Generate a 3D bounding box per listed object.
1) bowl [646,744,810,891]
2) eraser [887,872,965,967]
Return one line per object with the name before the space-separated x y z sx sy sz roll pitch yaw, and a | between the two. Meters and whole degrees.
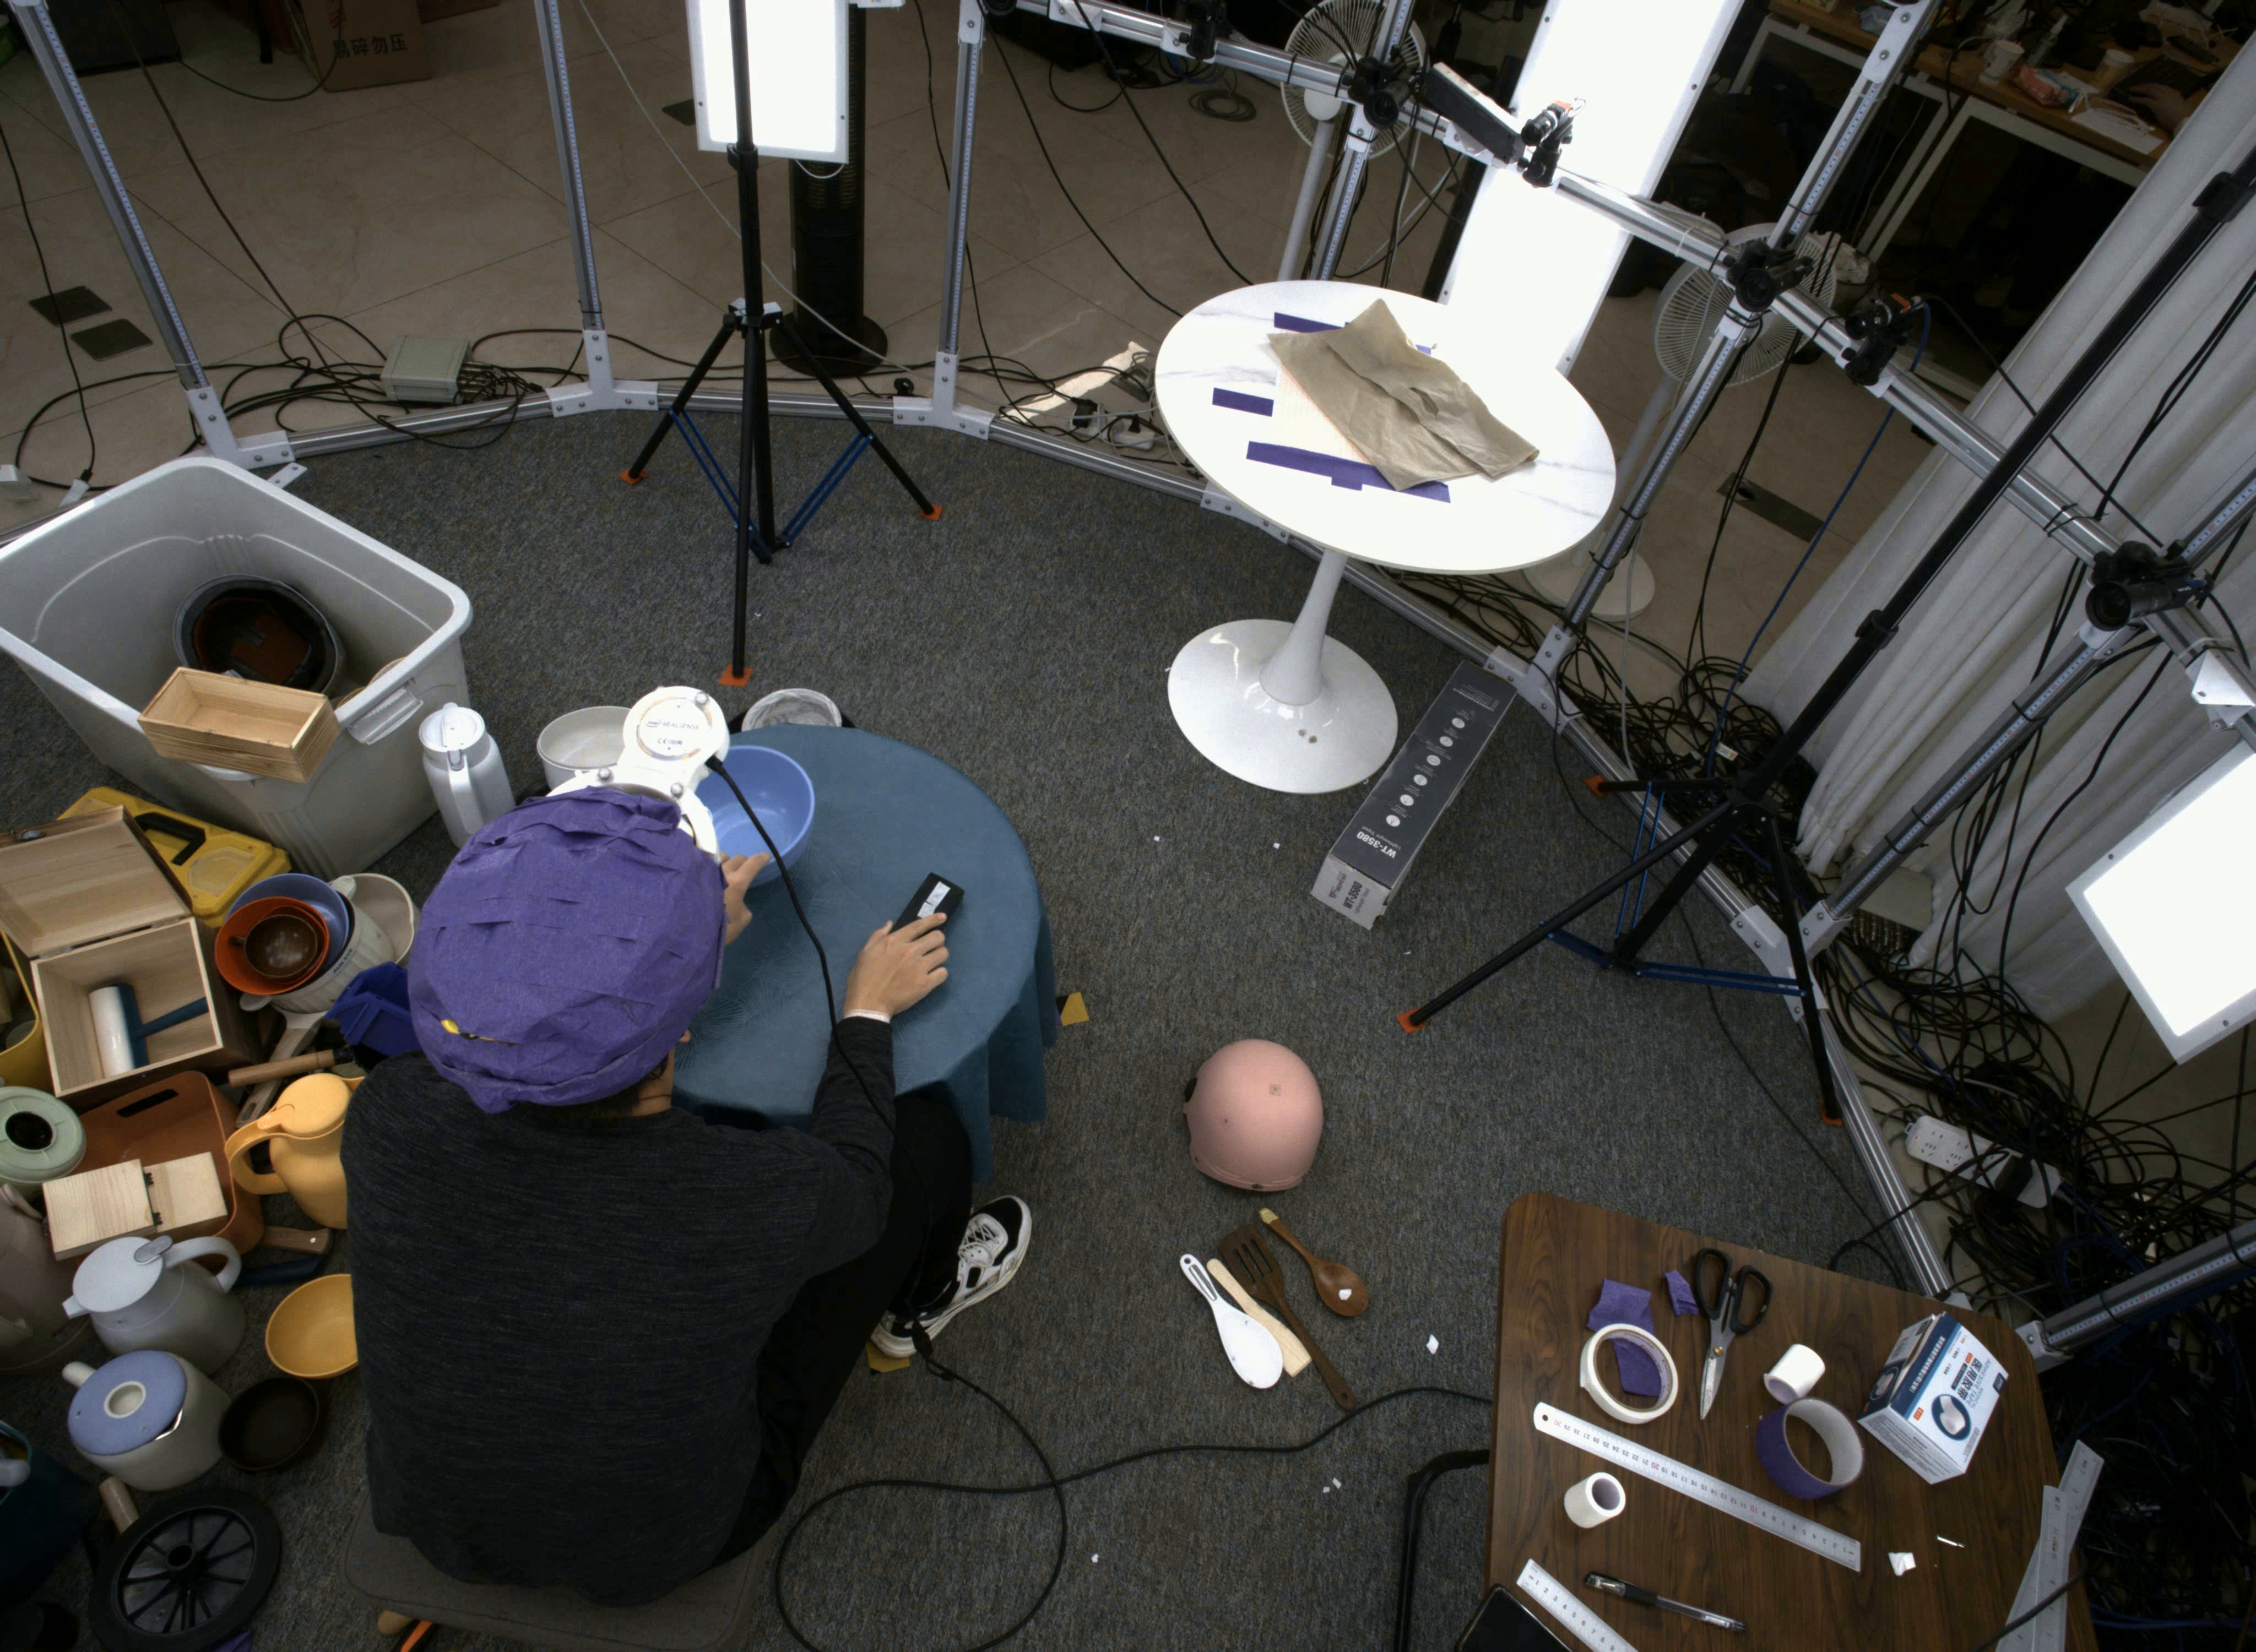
bowl | -0.488 0.004 1.599 0.195 0.097 0.193 5 55 -6
eraser | -0.256 0.115 1.653 0.053 0.031 0.124 26 50 0
